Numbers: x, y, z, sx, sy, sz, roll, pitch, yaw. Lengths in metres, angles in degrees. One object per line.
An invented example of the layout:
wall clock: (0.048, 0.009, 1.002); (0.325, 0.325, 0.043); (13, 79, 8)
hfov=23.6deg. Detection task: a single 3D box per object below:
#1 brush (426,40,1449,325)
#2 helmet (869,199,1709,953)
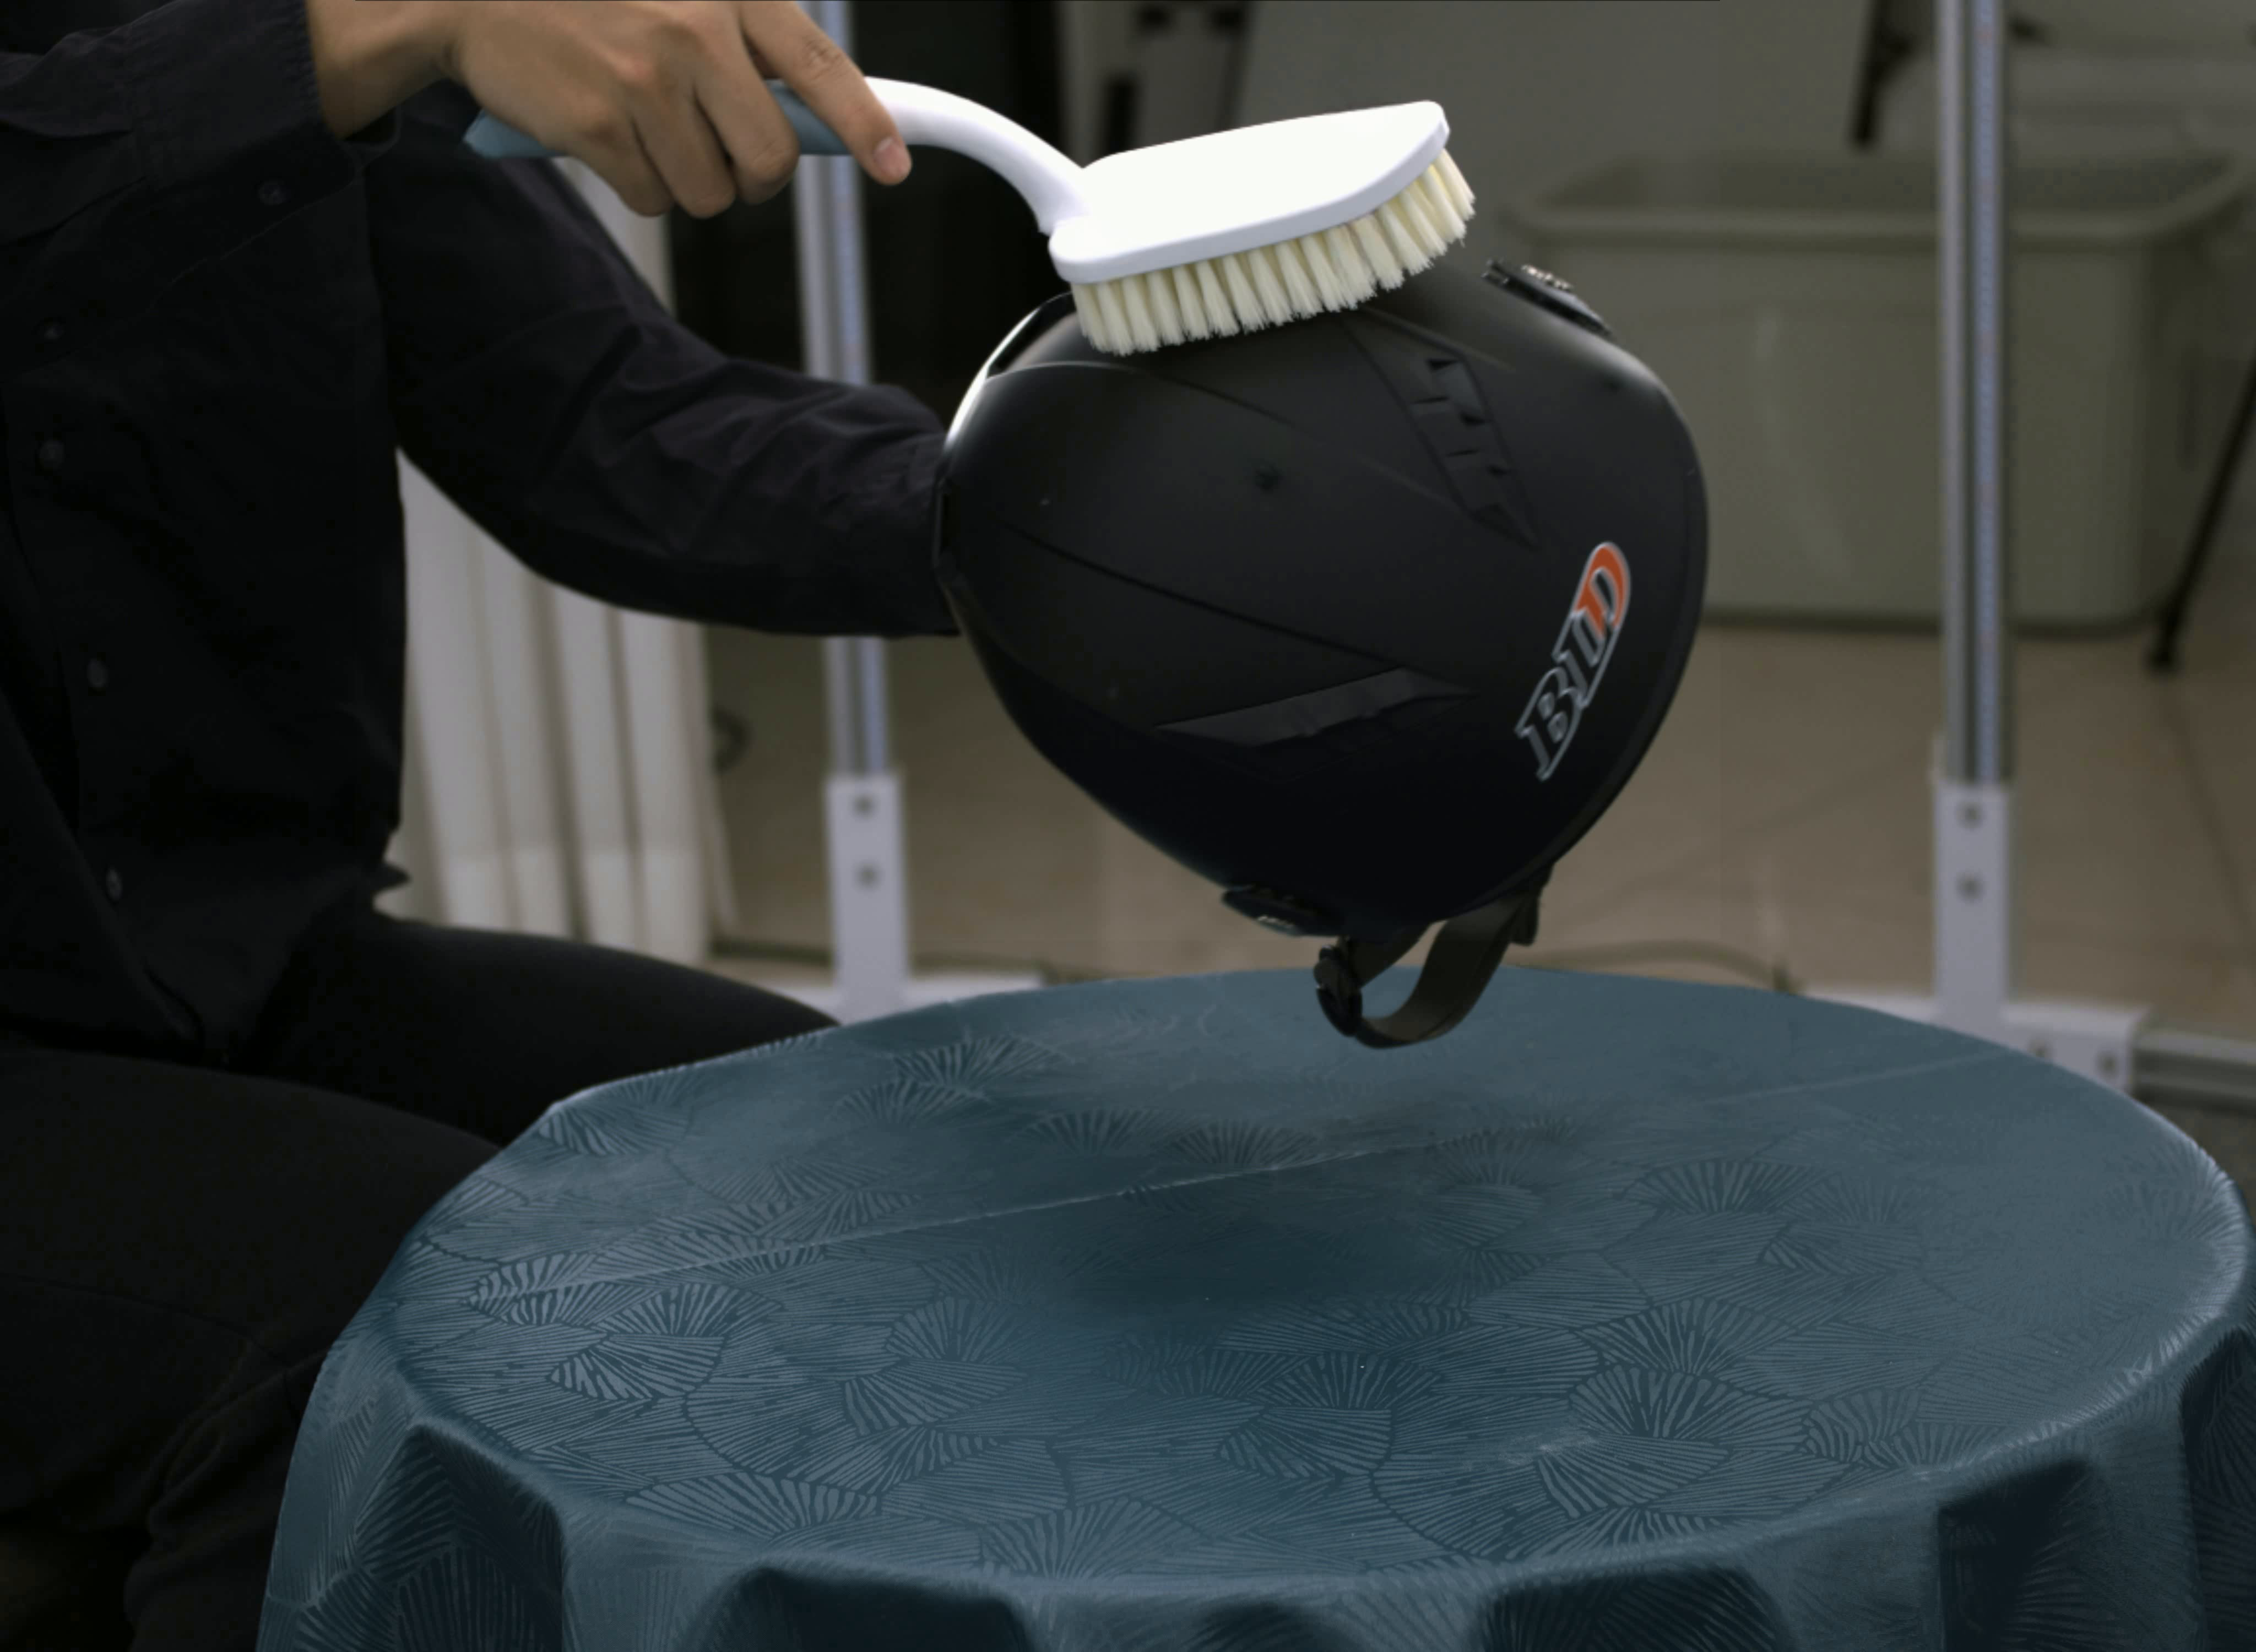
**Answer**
brush: (-0.059, -0.197, 1.693); (0.323, 0.085, 0.082); (1, -3, 12)
helmet: (0.042, -0.096, 1.720); (0.169, 0.249, 0.280); (22, 1, -36)
